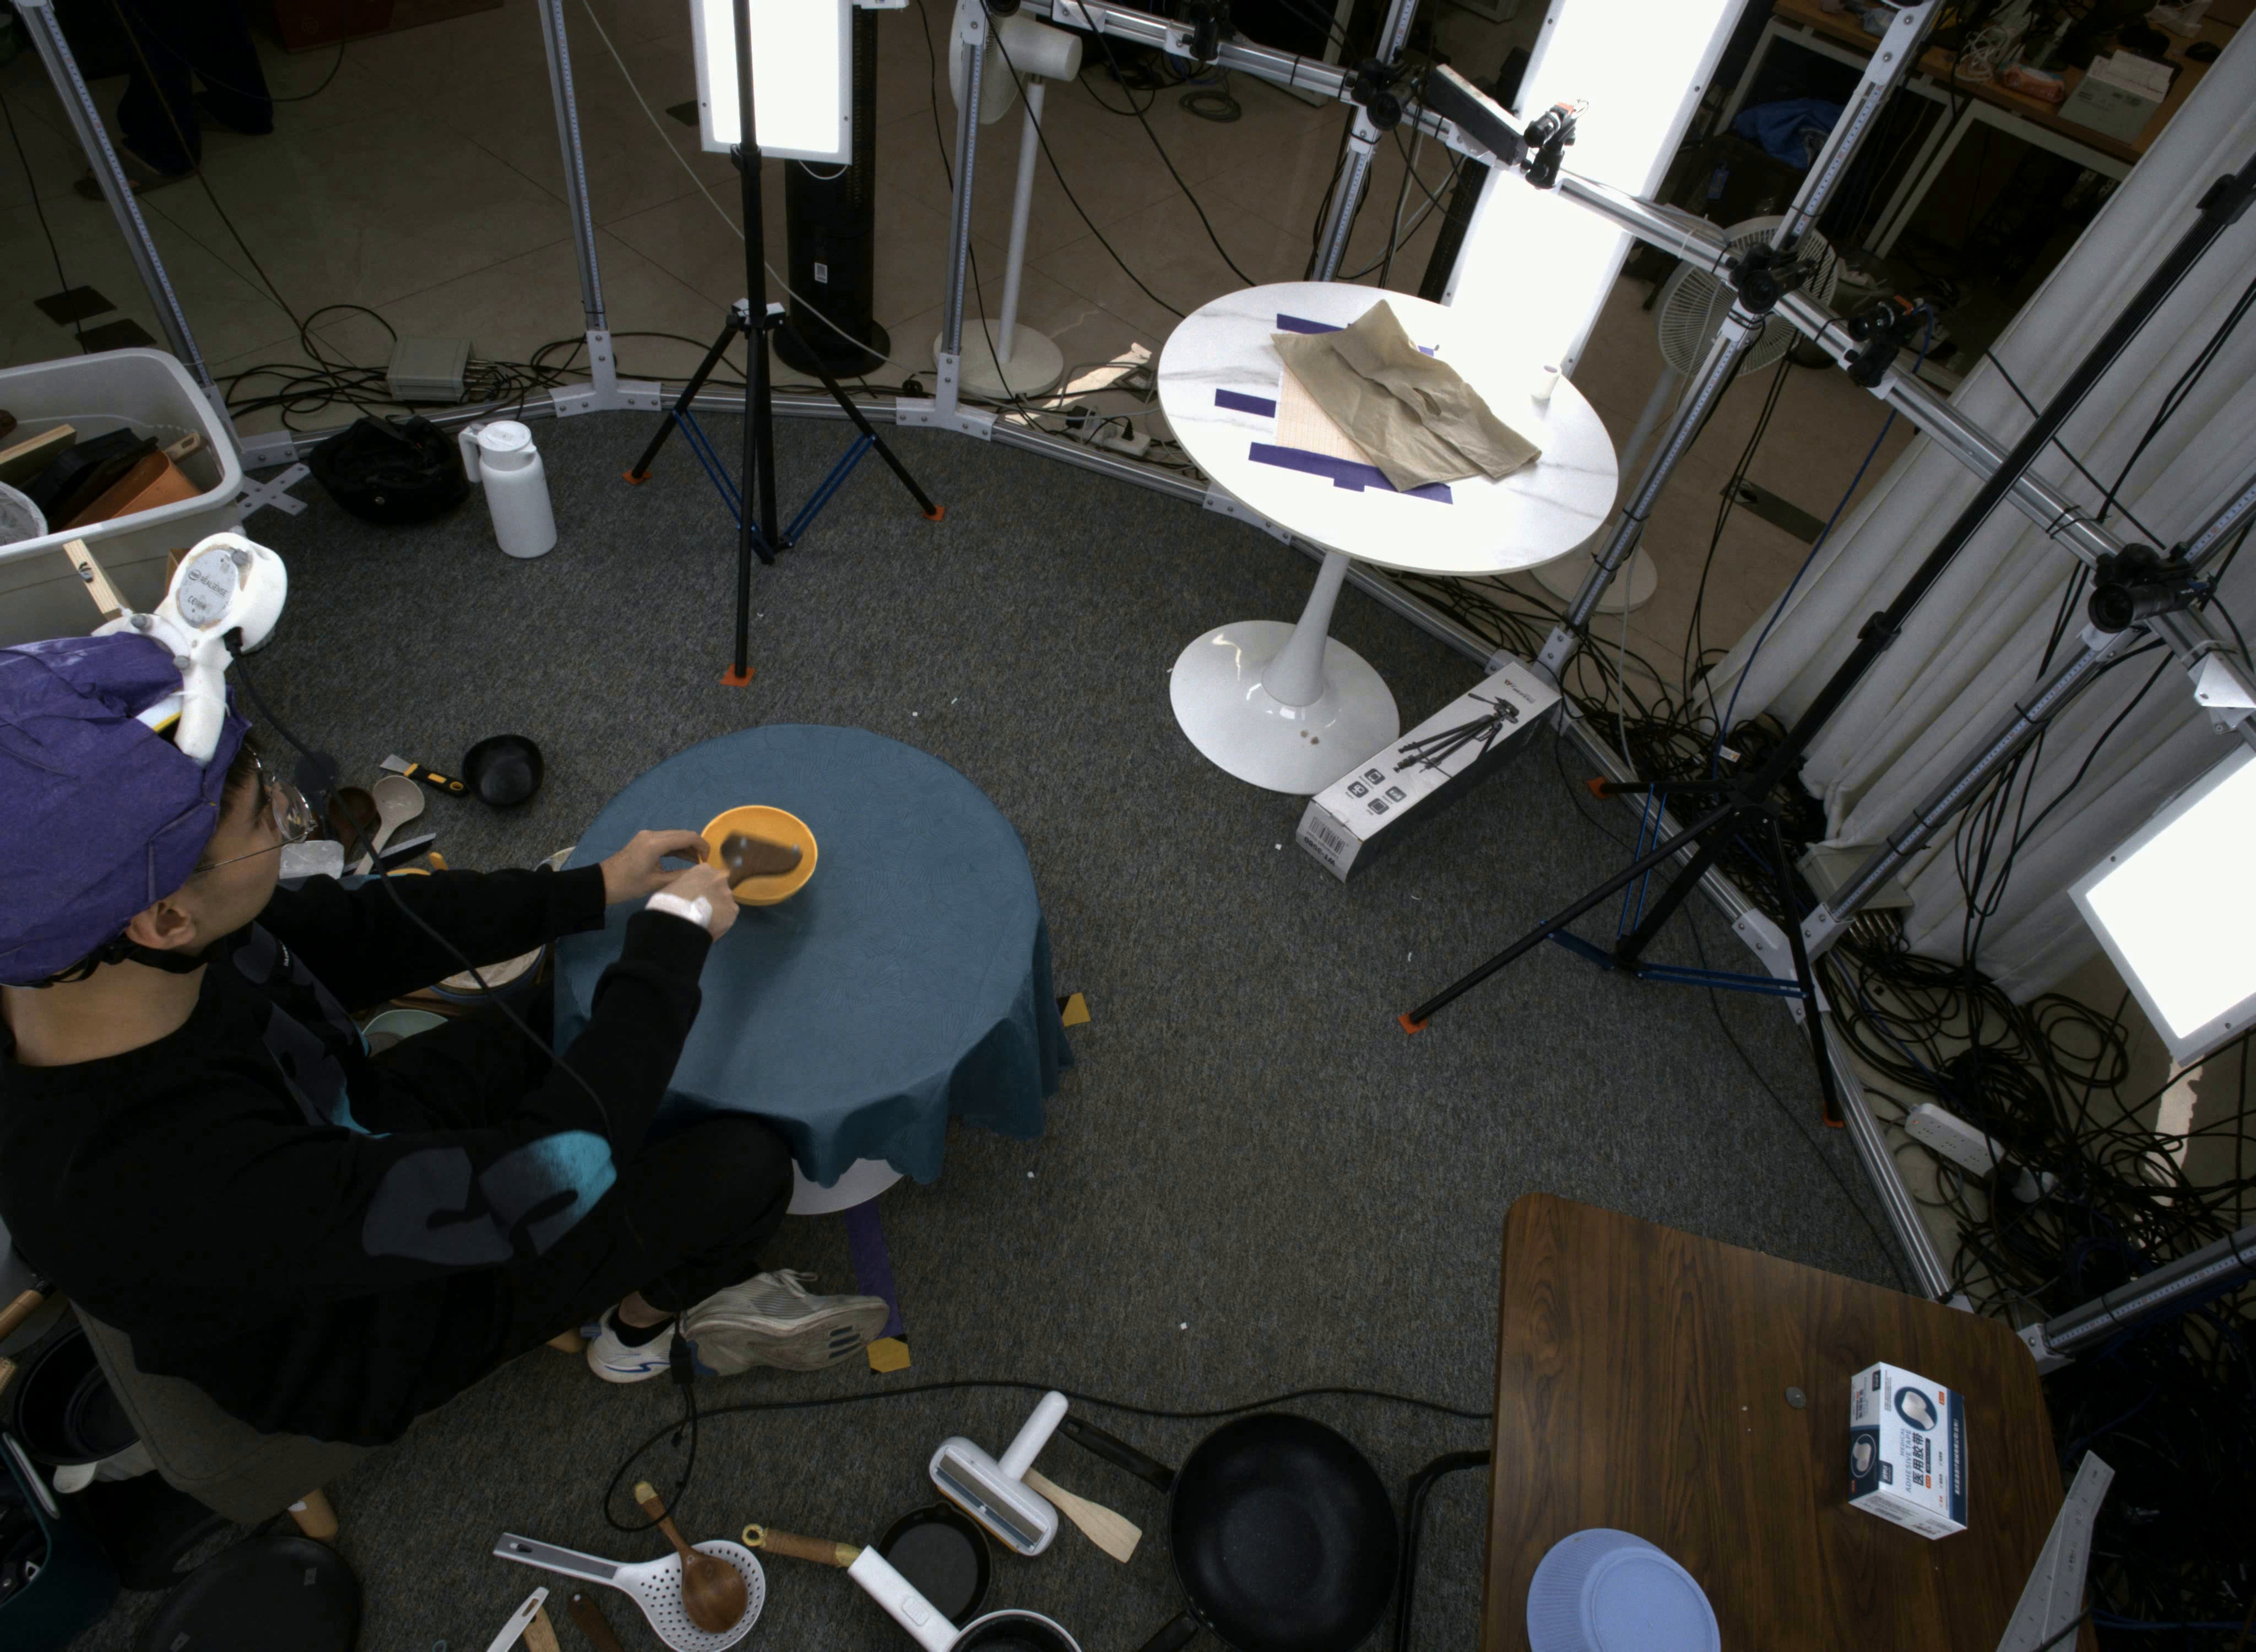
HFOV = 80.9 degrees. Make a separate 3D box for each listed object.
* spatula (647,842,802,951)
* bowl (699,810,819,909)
[{"bbox_3d":[-0.447,0.071,1.411,0.095,0.016,0.381,17,11,-3],"label":"spatula"},{"bbox_3d":[-0.461,0.051,1.617,0.145,0.061,0.142,10,49,-10],"label":"bowl"}]
